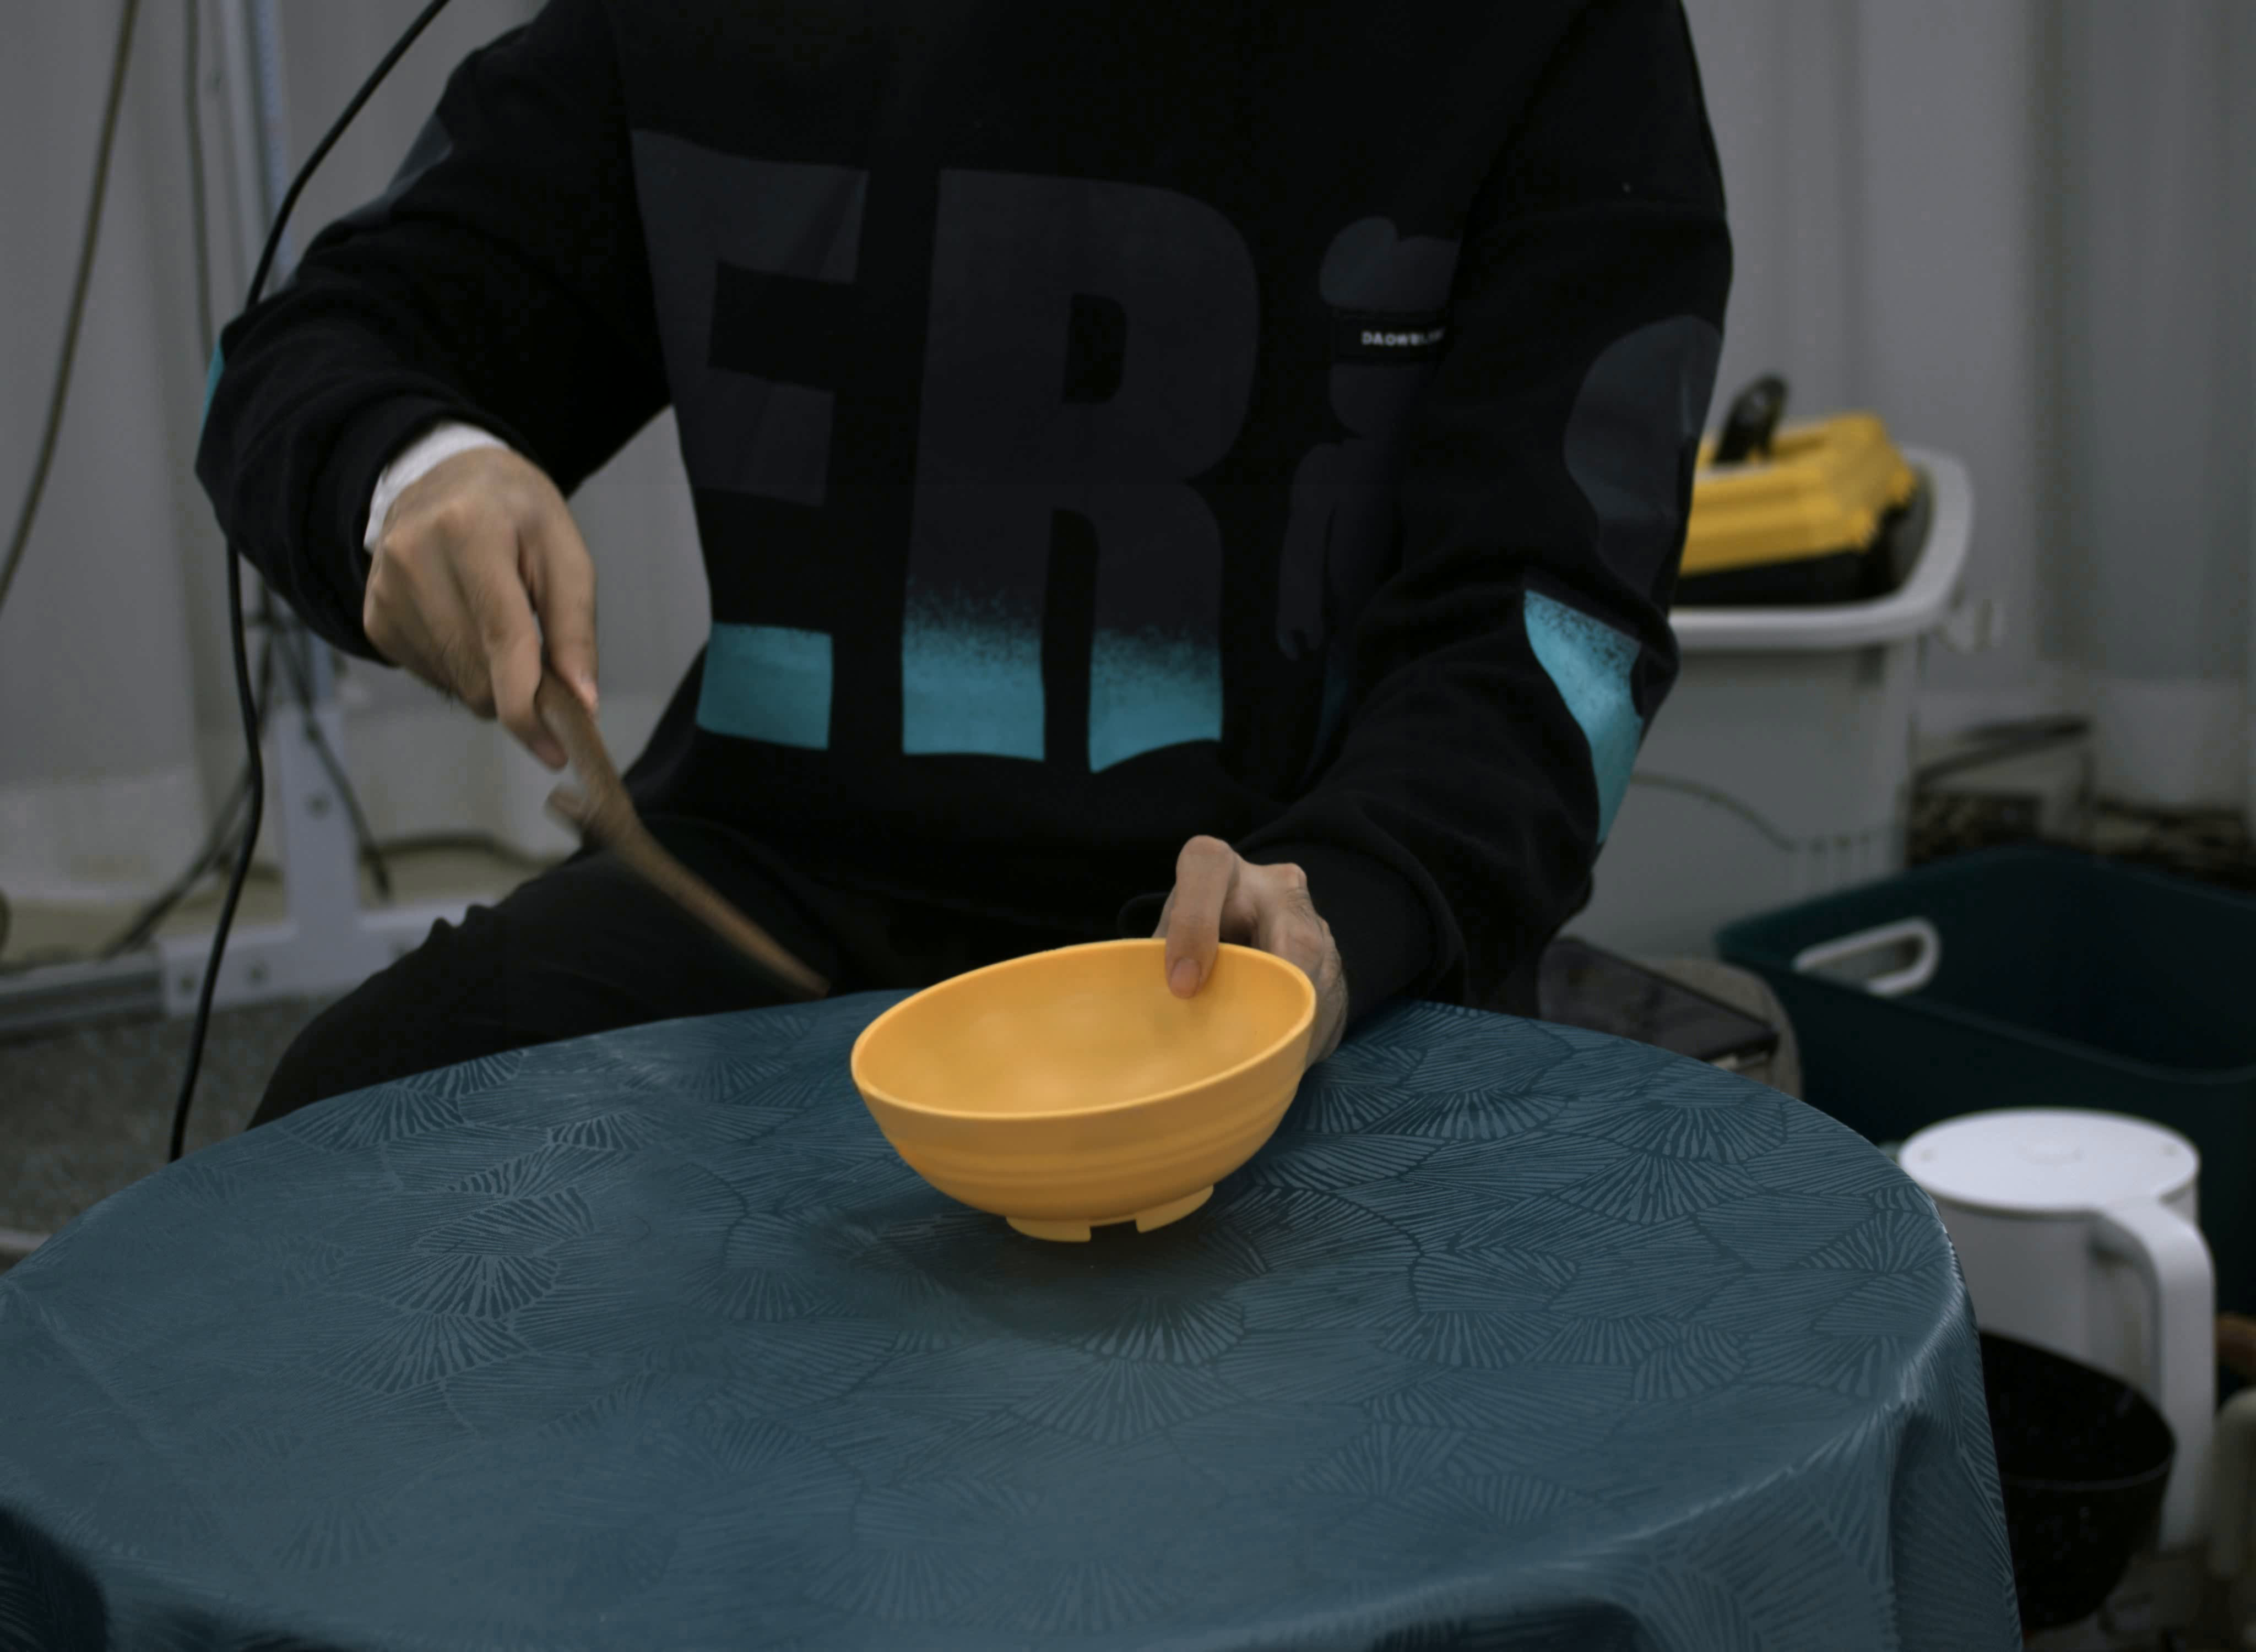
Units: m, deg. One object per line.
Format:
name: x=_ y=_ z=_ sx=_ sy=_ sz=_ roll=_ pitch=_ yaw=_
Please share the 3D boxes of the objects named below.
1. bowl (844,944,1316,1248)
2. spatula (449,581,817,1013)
bowl: x=-0.013 y=0.089 z=1.675 sx=0.145 sy=0.060 sz=0.146 roll=-4 pitch=19 yaw=1
spatula: x=-0.175 y=-0.023 z=1.745 sx=0.095 sy=0.016 sz=0.389 roll=38 pitch=4 yaw=-23
